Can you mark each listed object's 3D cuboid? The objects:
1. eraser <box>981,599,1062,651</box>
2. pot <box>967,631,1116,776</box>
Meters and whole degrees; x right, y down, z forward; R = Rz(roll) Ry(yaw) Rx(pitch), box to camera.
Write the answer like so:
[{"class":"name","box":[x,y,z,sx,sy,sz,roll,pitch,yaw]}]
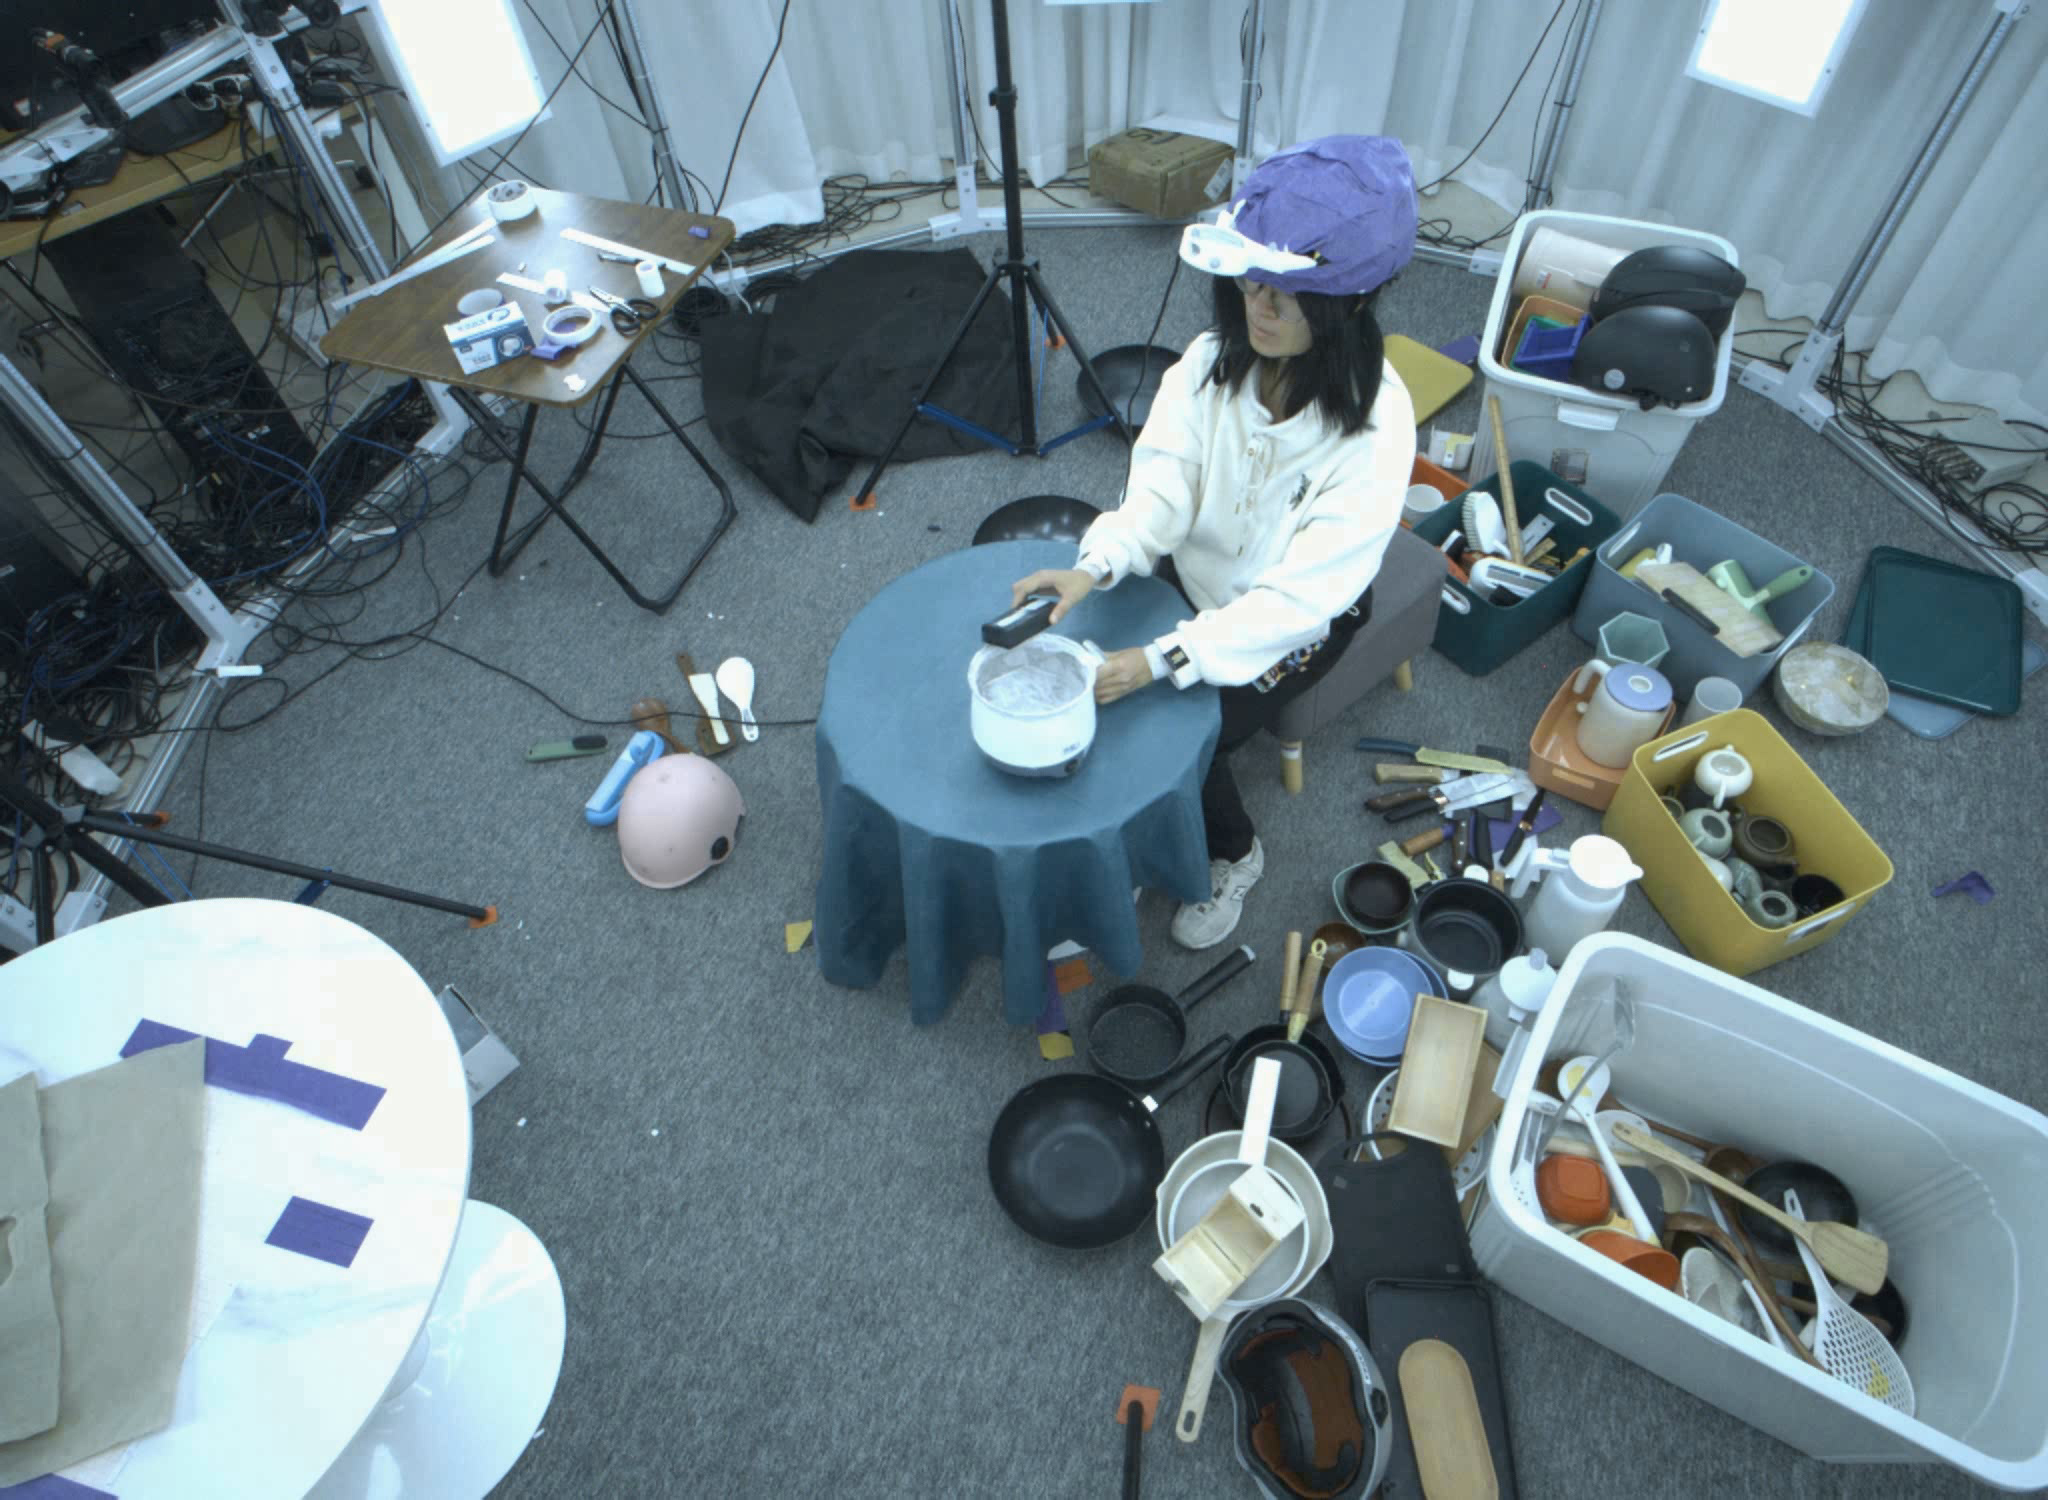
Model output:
[{"class":"eraser","box":[-0.003,-0.178,1.744,0.052,0.031,0.127,19,34,32]},{"class":"pot","box":[0.033,-0.075,1.744,0.236,0.138,0.175,-31,53,-26]}]
